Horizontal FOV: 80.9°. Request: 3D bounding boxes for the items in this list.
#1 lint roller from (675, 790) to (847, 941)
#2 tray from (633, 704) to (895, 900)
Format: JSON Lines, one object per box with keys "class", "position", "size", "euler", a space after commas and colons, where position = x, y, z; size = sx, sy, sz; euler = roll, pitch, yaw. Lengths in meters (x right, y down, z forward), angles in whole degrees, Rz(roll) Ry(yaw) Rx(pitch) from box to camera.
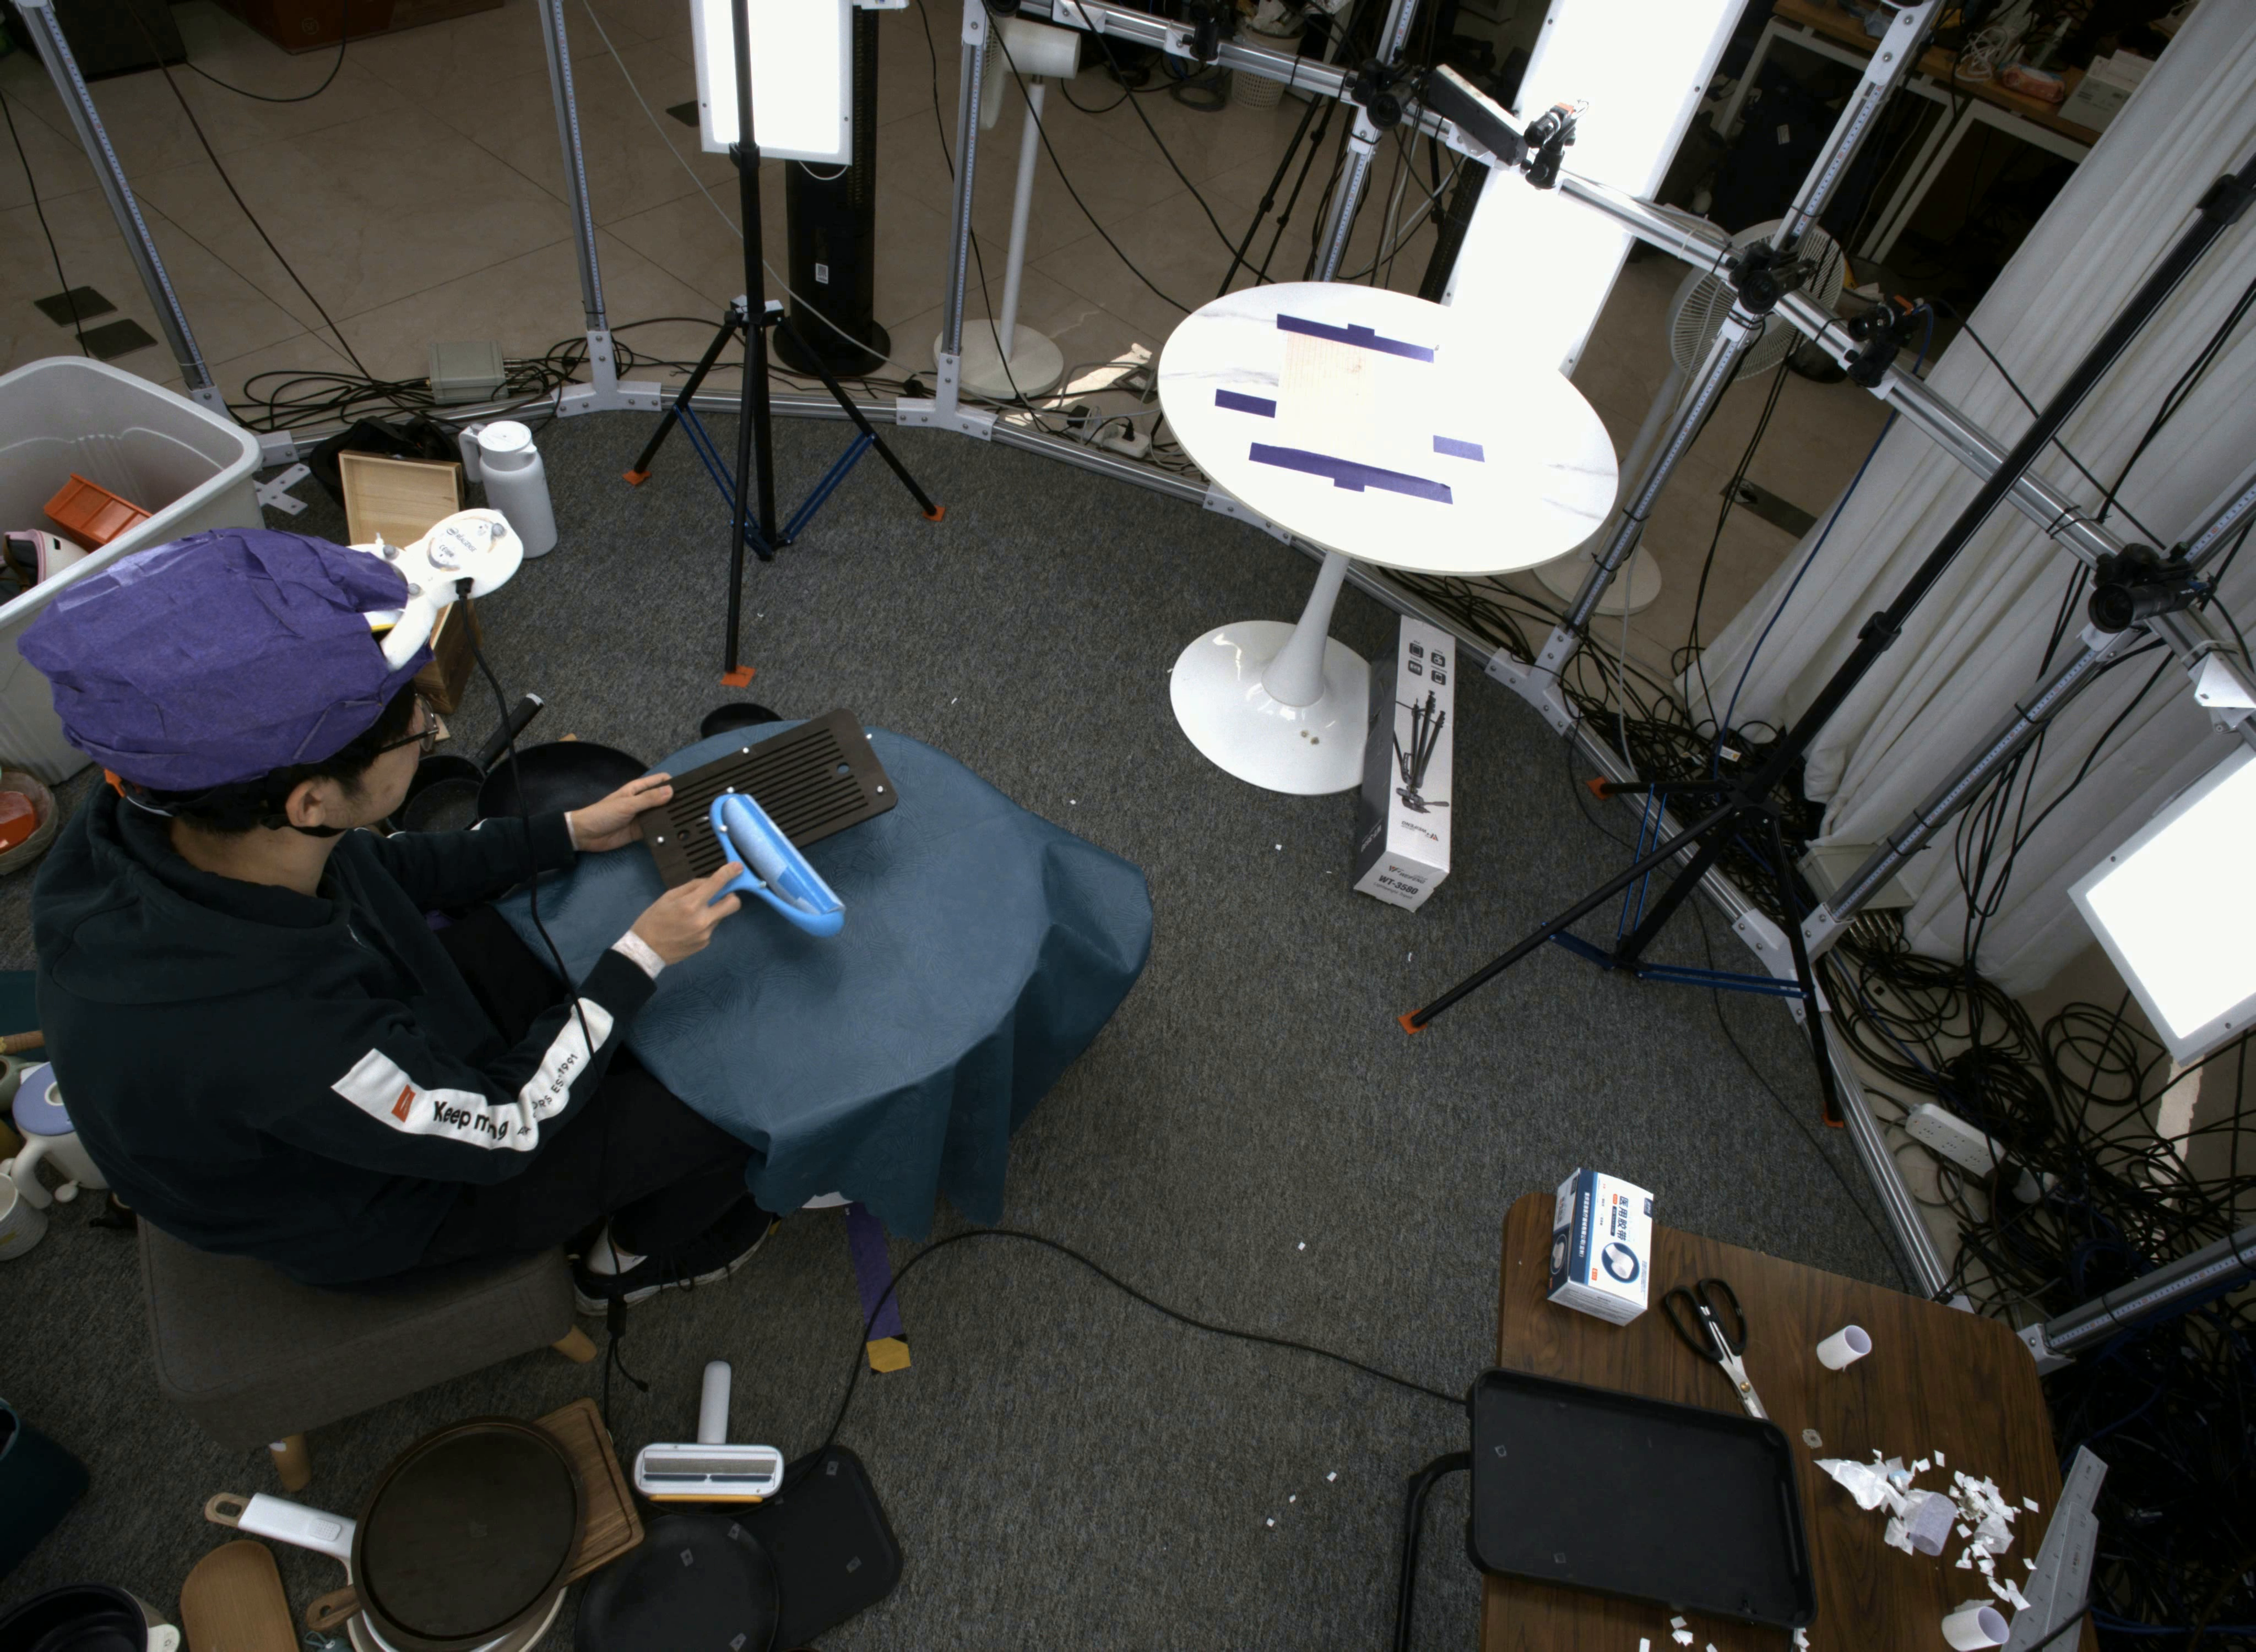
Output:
{"class": "lint roller", "position": [-0.463, 0.071, 1.546], "size": [0.227, 0.068, 0.180], "euler": [46, 56, 8]}
{"class": "tray", "position": [-0.466, -0.034, 1.652], "size": [0.306, 0.019, 0.166], "euler": [-26, 68, -17]}
